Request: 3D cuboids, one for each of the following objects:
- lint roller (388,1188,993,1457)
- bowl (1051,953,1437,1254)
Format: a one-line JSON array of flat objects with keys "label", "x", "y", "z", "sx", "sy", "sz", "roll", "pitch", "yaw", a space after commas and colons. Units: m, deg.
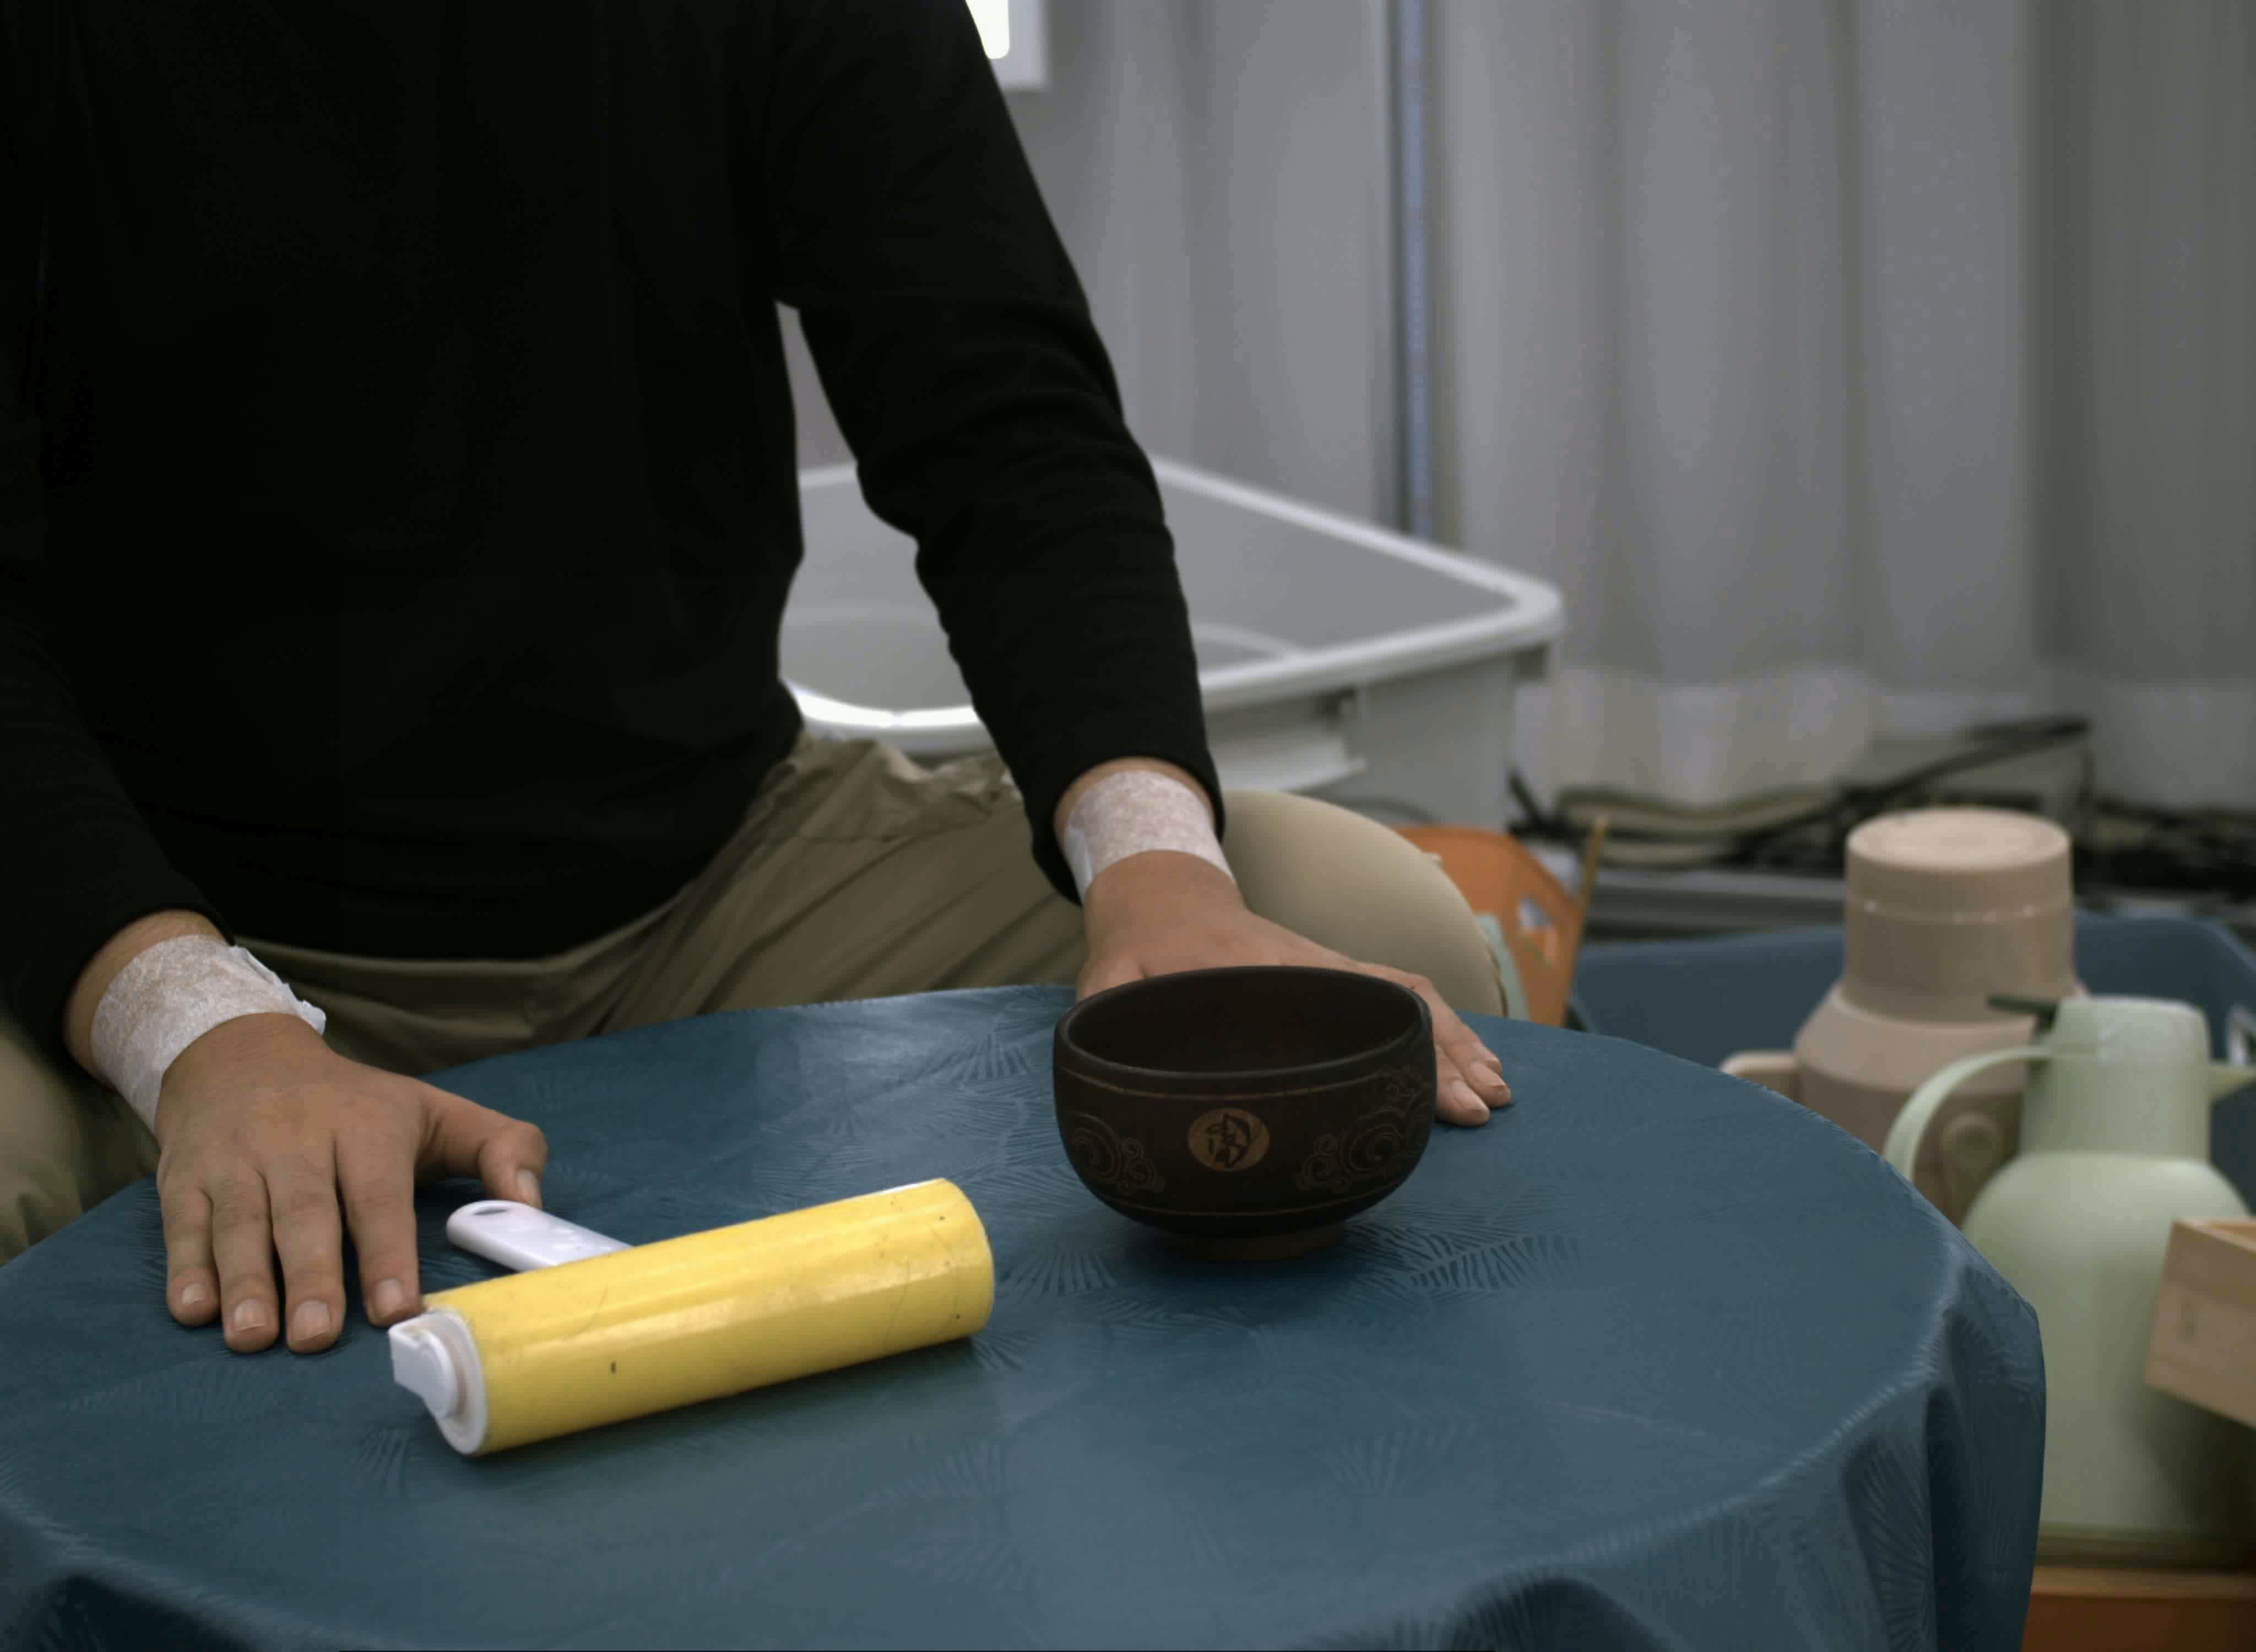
[{"label": "lint roller", "x": -0.157, "y": 0.123, "z": 1.613, "sx": 0.173, "sy": 0.051, "sz": 0.194, "roll": -11, "pitch": 21, "yaw": -30}, {"label": "bowl", "x": 0.036, "y": 0.088, "z": 1.662, "sx": 0.117, "sy": 0.069, "sz": 0.119, "roll": -2, "pitch": 15, "yaw": 0}]
